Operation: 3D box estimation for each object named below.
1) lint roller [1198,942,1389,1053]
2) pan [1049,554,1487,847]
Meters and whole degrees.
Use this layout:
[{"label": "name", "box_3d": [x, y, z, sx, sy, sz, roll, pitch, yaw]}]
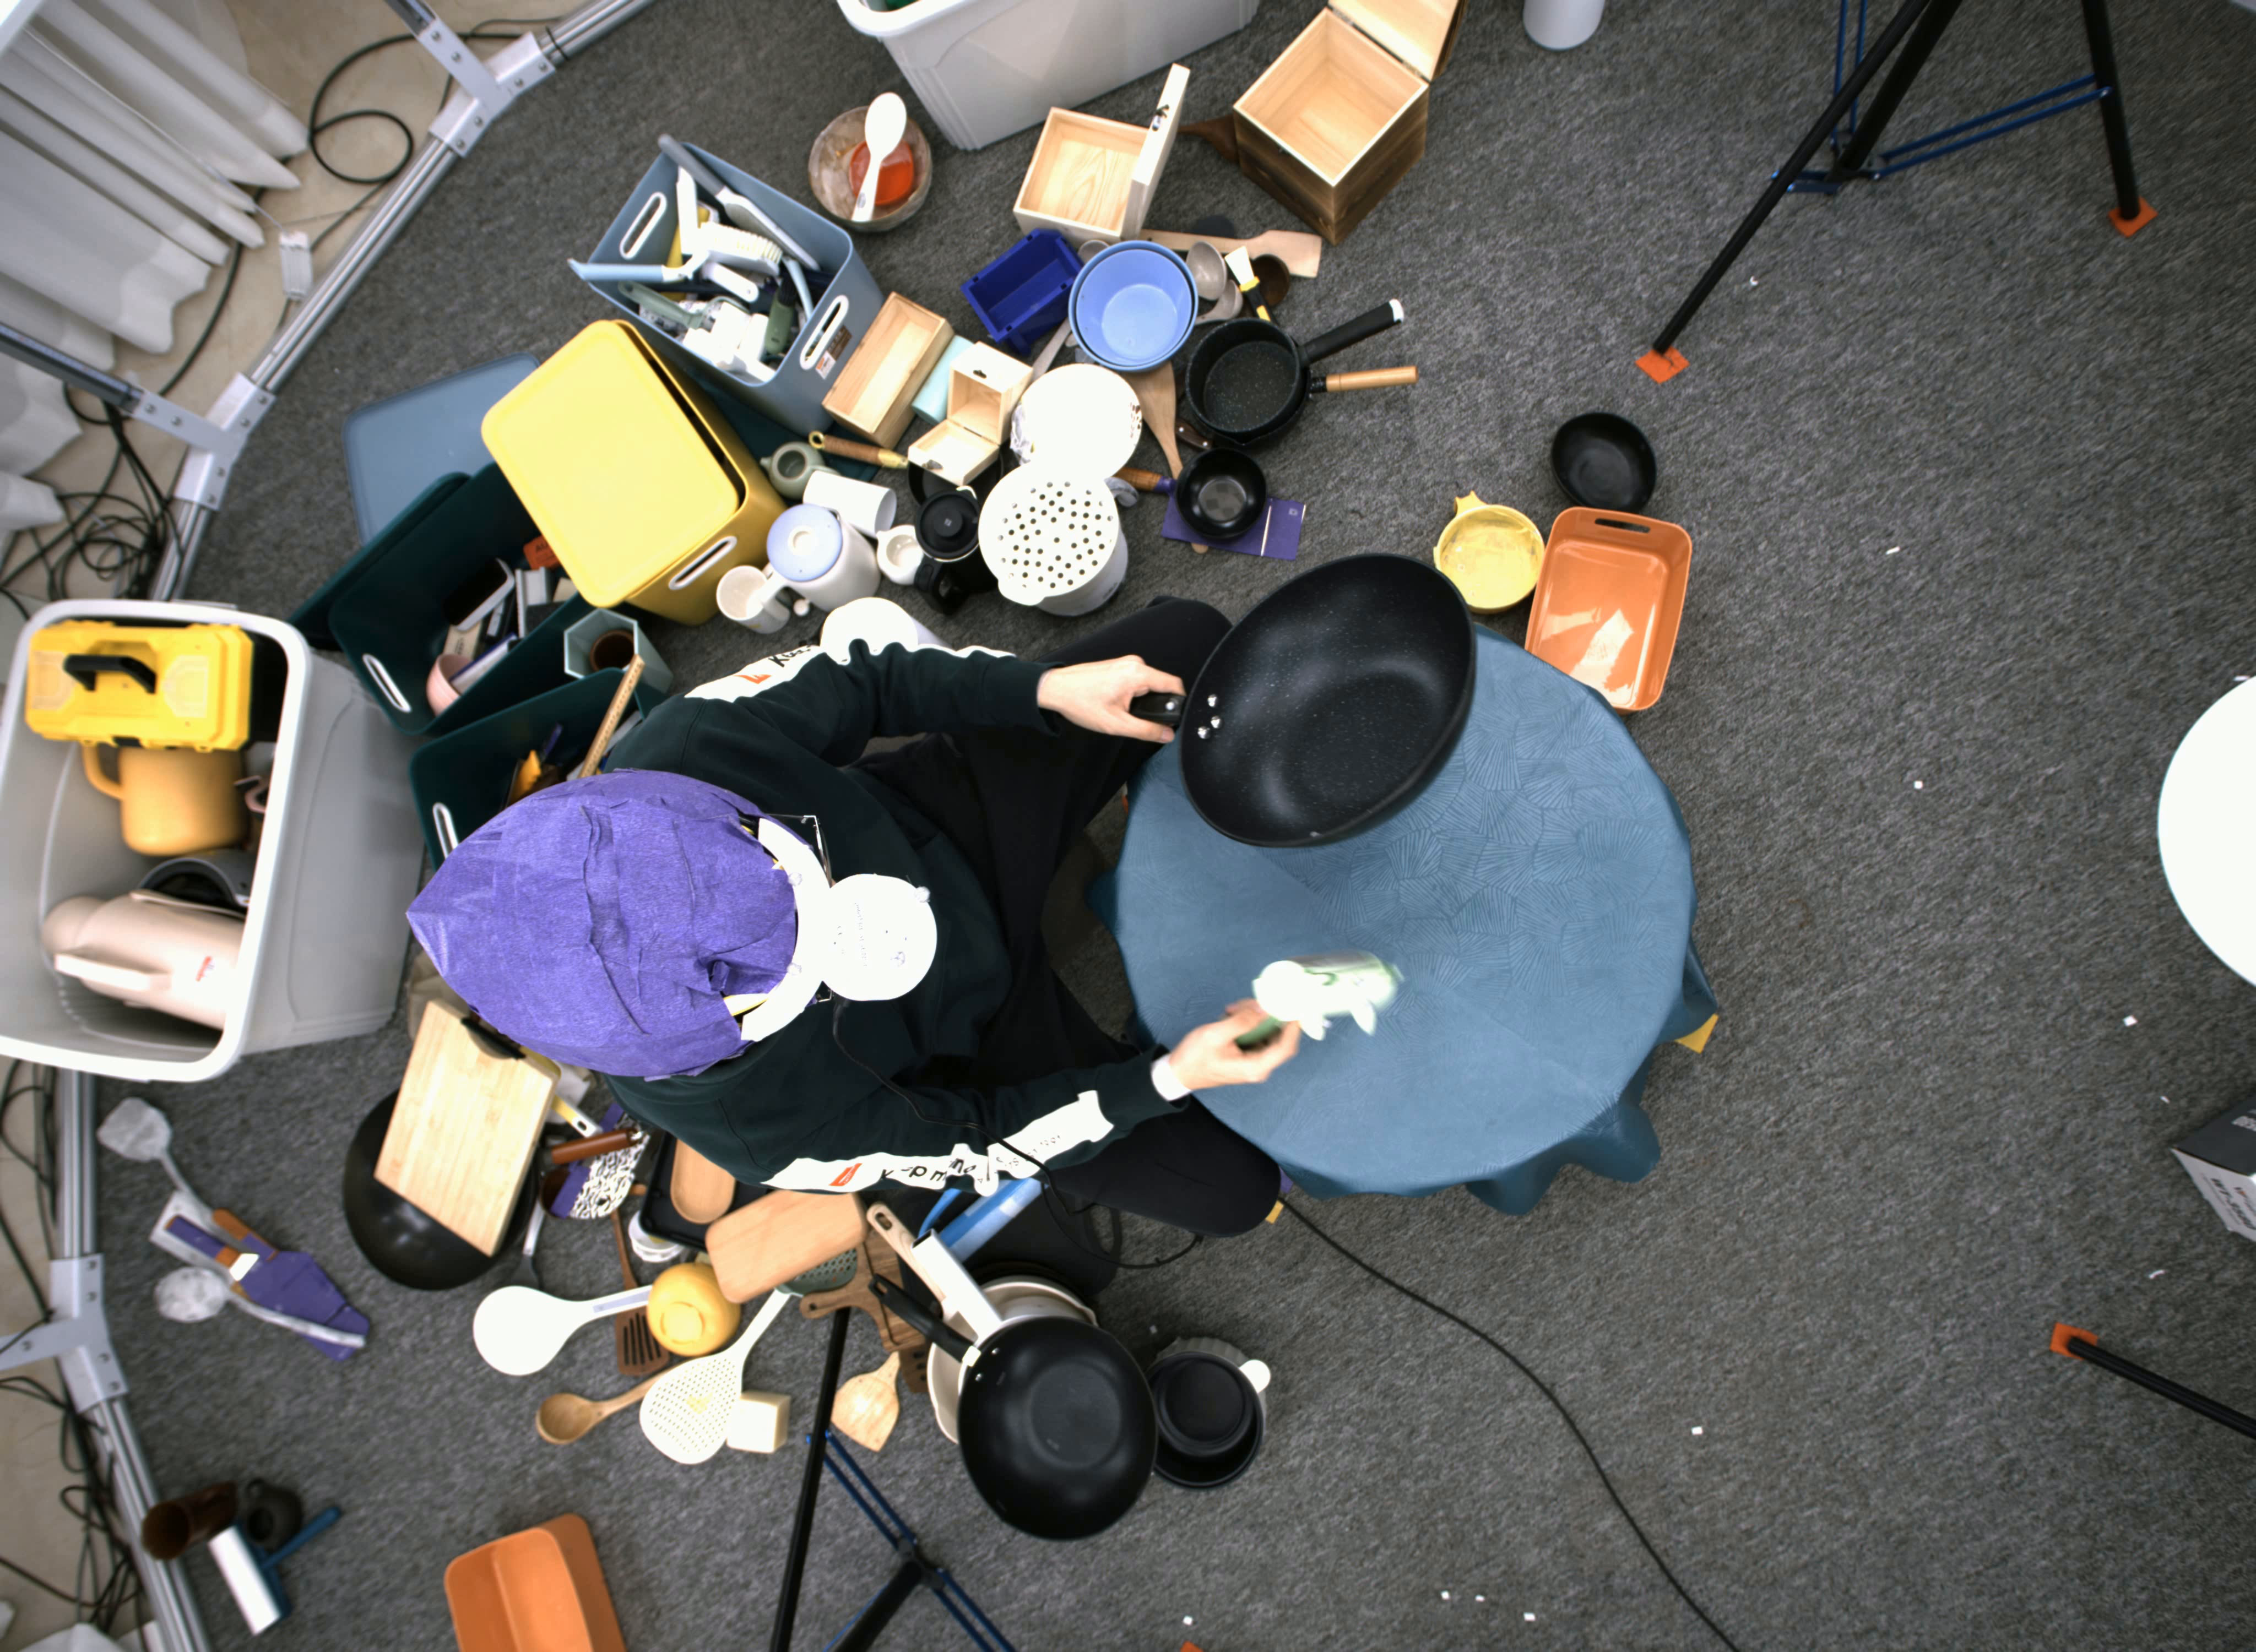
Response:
[{"label": "lint roller", "box_3d": [0.148, 0.185, 1.327, 0.187, 0.197, 0.081, -44, 70, 26]}, {"label": "pan", "box_3d": [0.129, -0.106, 1.313, 0.480, 0.113, 0.304, -1, 62, 42]}]
